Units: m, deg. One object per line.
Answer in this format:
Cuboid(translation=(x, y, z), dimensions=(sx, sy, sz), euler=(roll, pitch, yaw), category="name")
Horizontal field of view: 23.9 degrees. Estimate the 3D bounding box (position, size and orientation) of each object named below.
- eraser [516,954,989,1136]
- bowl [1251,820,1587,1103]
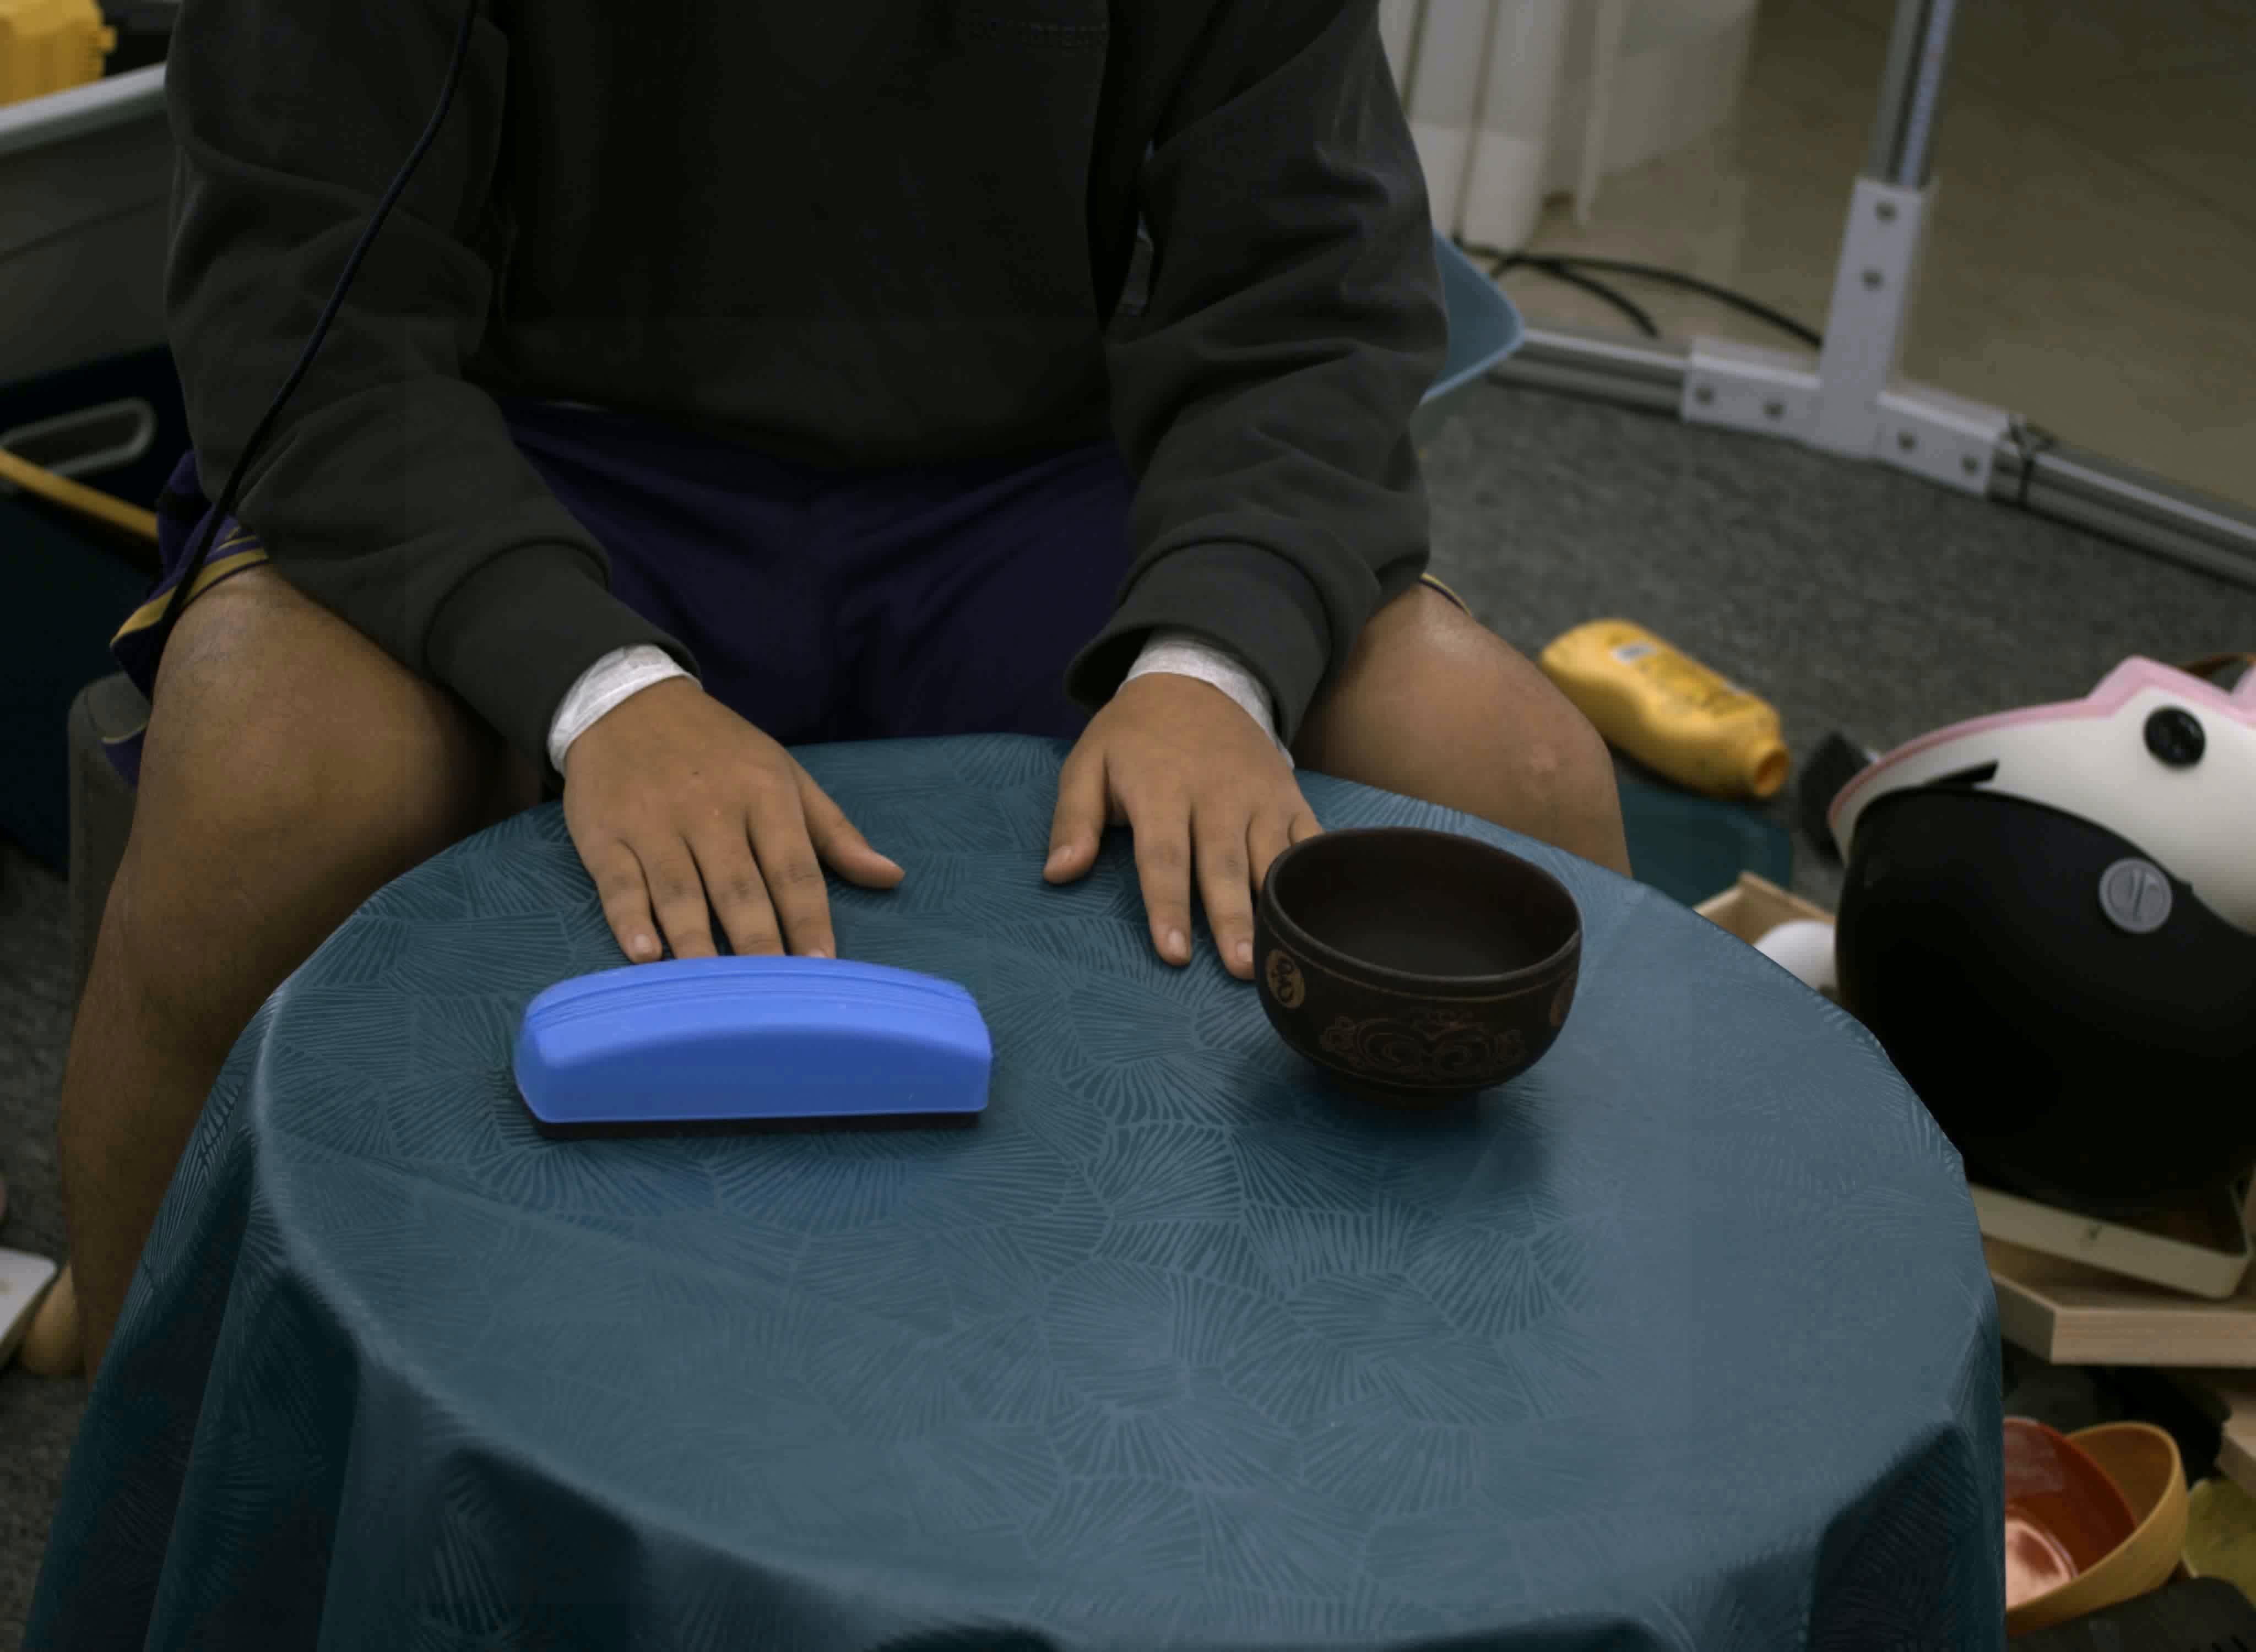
Cuboid(translation=(-0.127, 0.074, 1.820), dimensions=(0.161, 0.047, 0.054), euler=(-1, 29, -15), category="eraser")
Cuboid(translation=(0.101, 0.054, 1.879), dimensions=(0.117, 0.069, 0.119), euler=(4, 26, -2), category="bowl")
